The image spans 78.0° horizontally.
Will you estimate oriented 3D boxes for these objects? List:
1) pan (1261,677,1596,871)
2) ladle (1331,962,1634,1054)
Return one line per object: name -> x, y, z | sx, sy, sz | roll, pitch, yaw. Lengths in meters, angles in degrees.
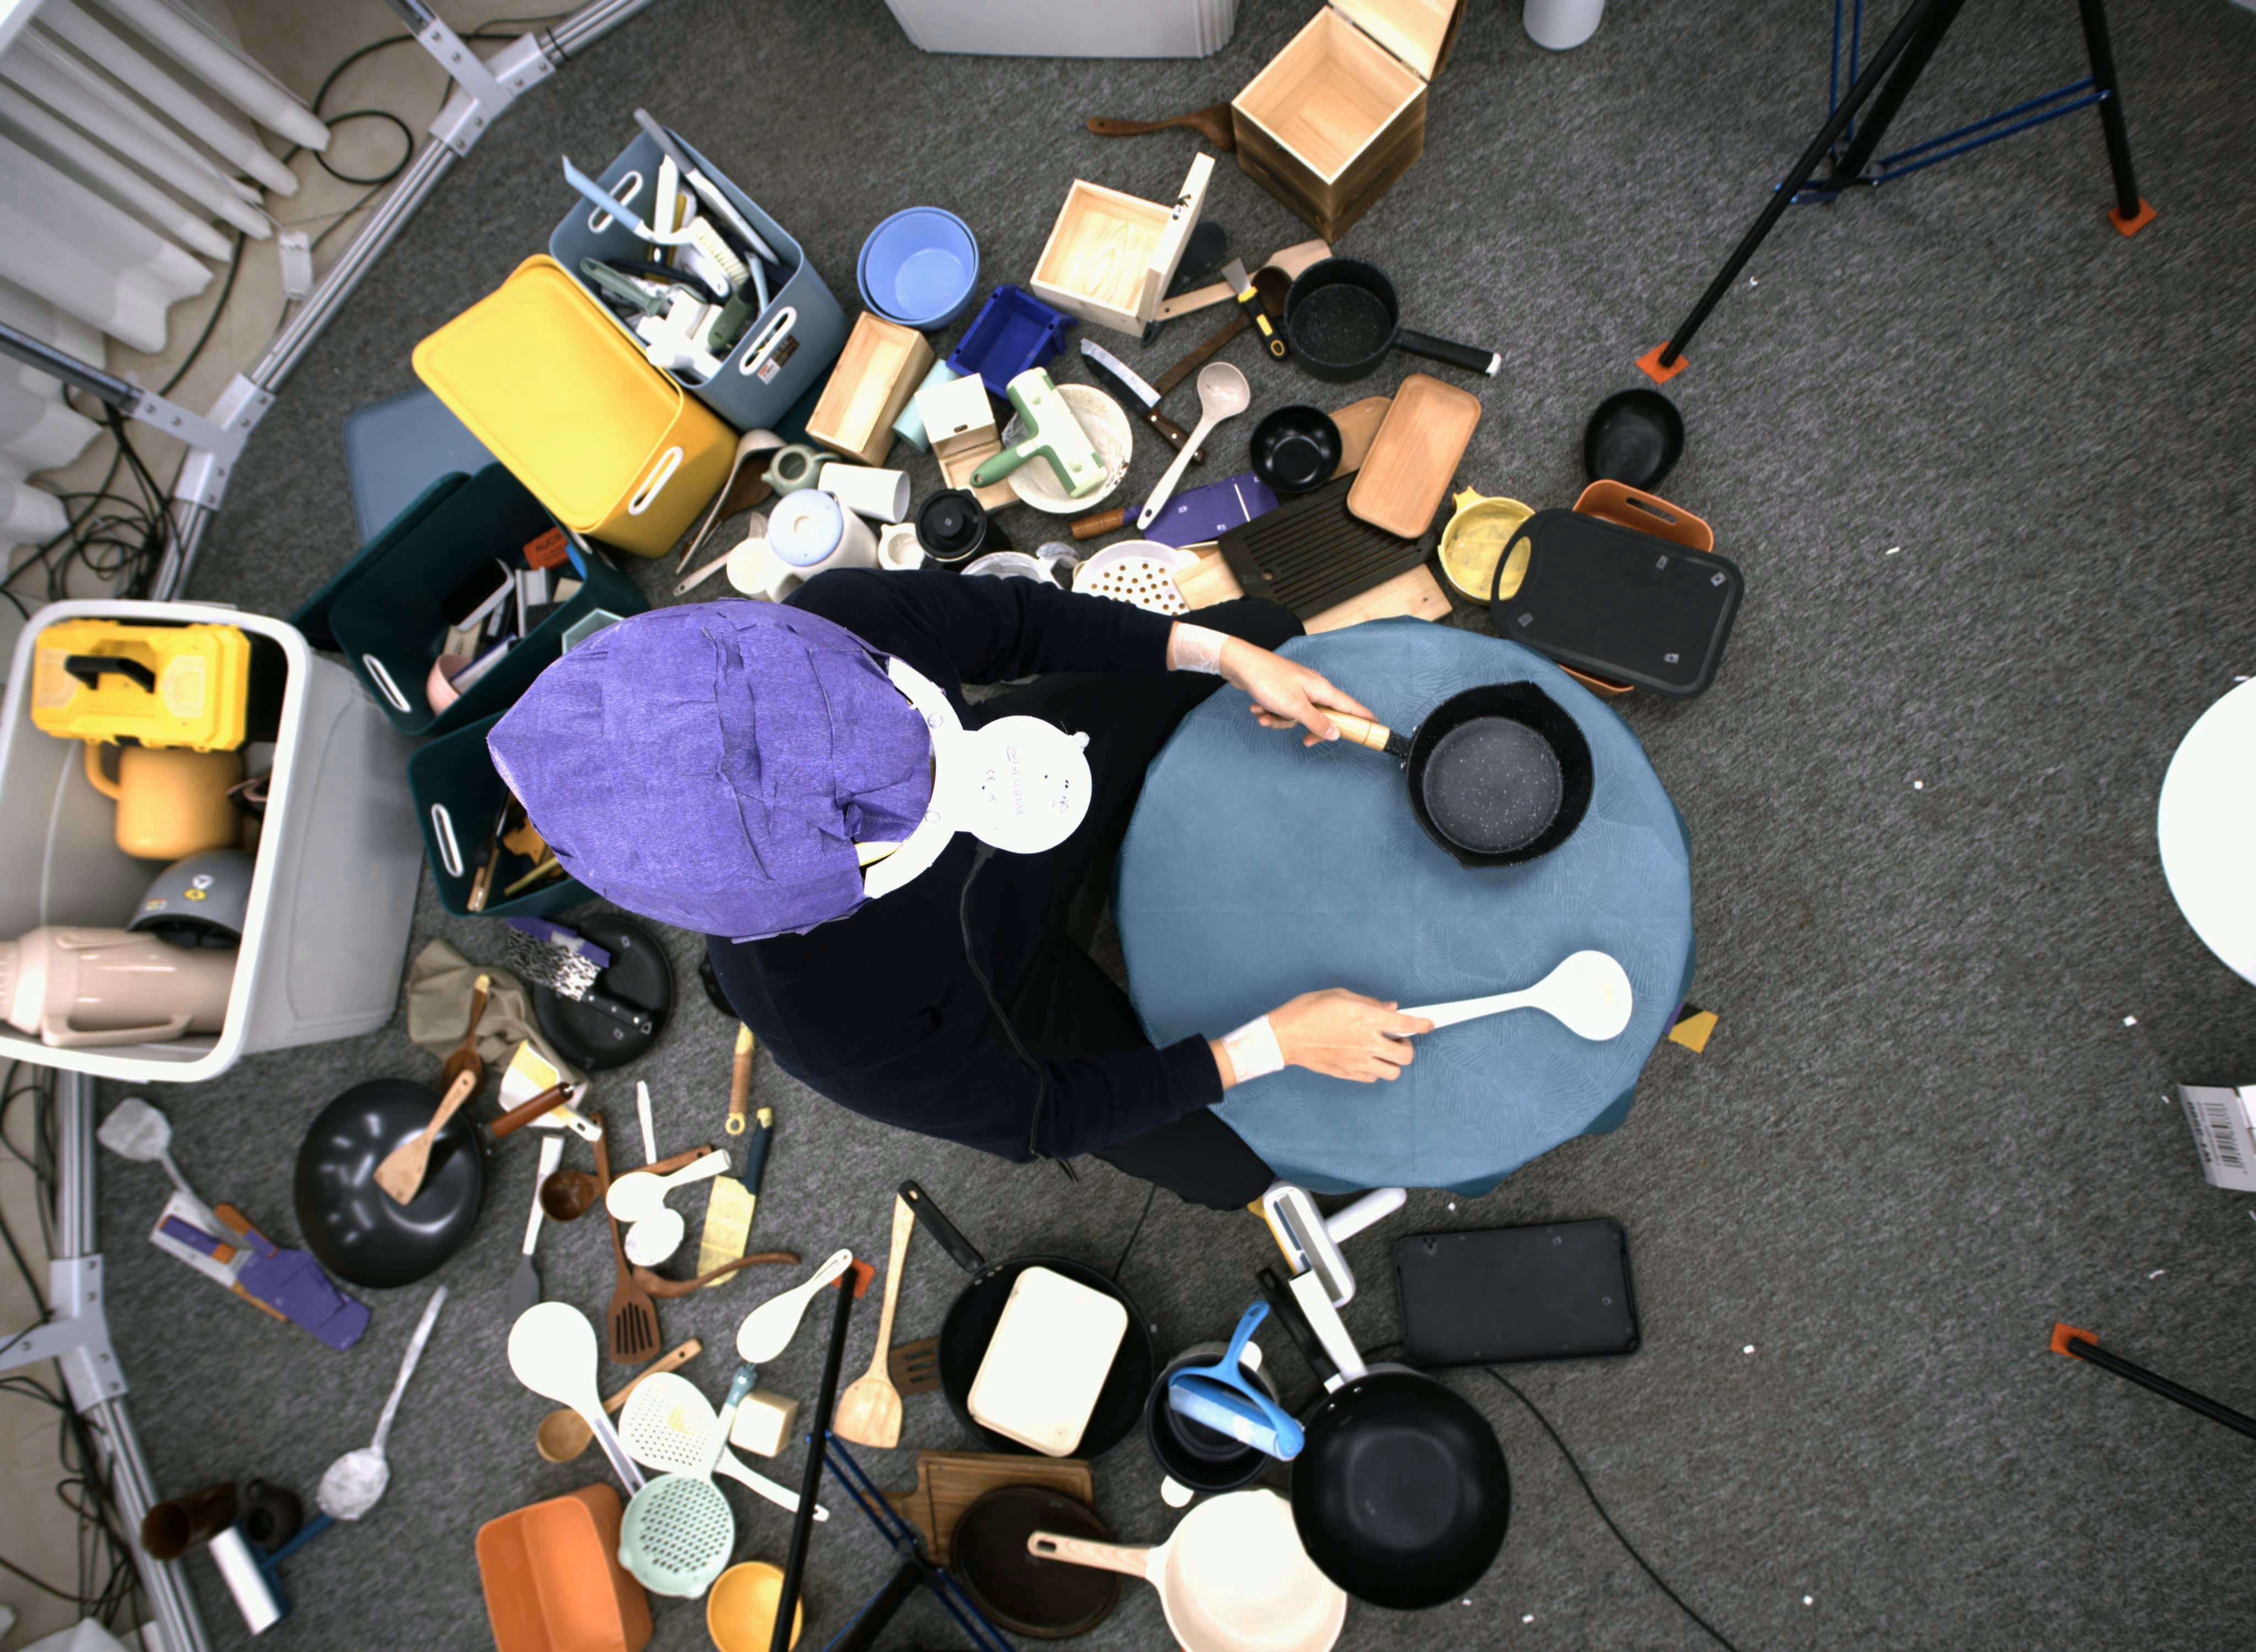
pan -> 0.300, -0.074, 1.407 | 0.343, 0.108, 0.207 | 18, 90, 9
ladle -> 0.355, 0.194, 1.390 | 0.293, 0.069, 0.091 | -10, 105, 1
